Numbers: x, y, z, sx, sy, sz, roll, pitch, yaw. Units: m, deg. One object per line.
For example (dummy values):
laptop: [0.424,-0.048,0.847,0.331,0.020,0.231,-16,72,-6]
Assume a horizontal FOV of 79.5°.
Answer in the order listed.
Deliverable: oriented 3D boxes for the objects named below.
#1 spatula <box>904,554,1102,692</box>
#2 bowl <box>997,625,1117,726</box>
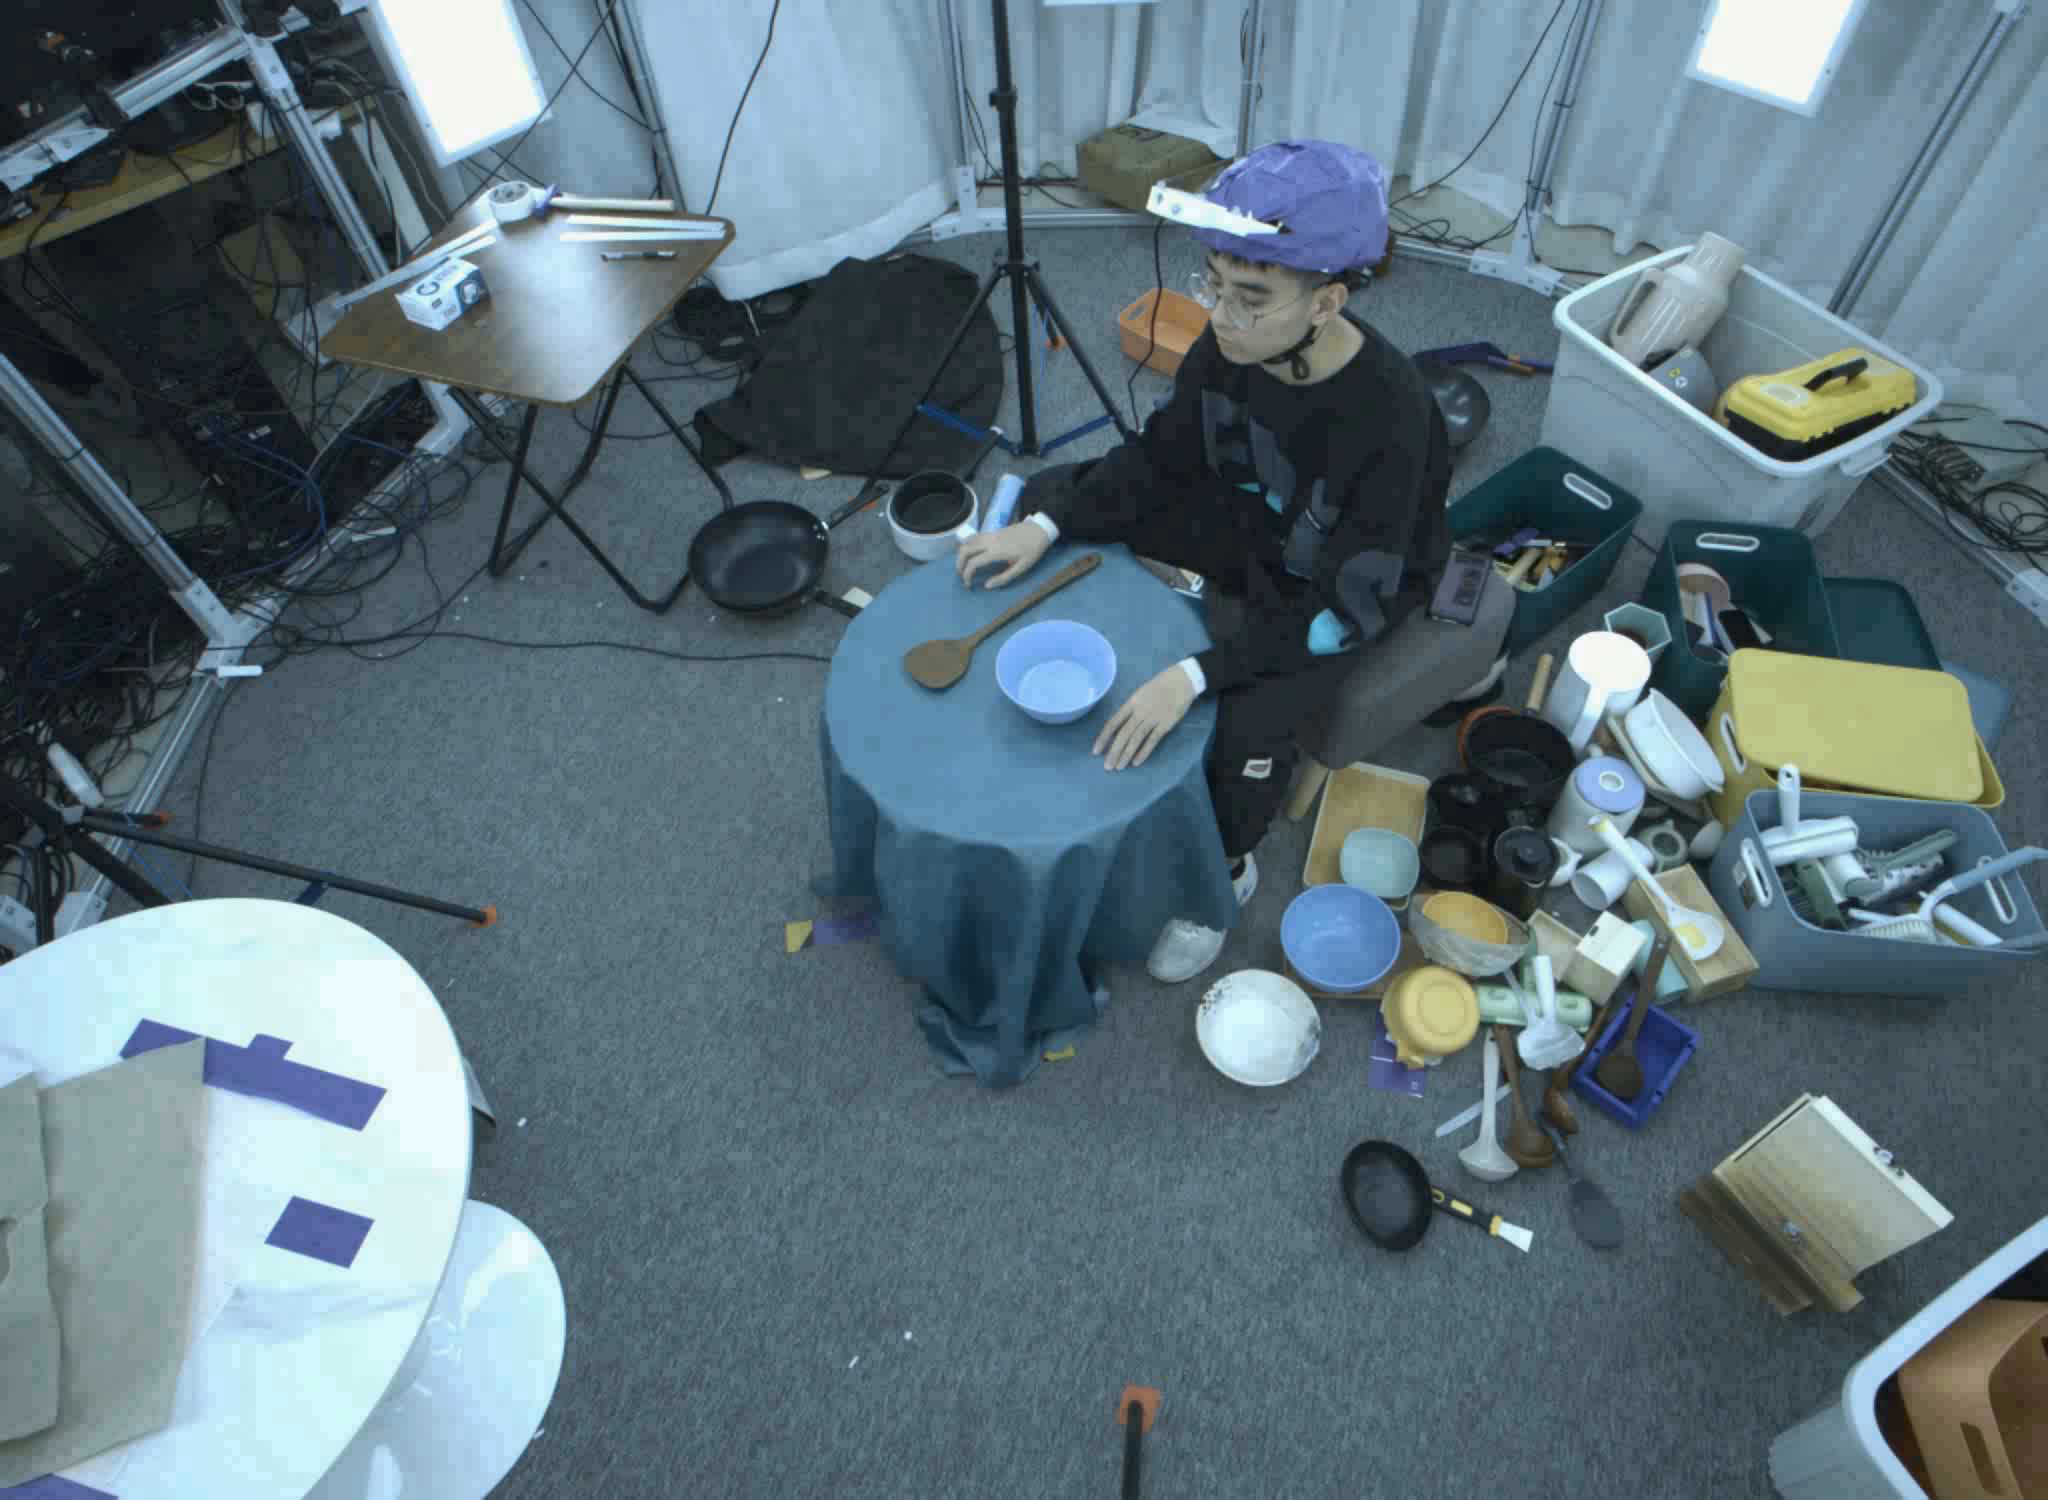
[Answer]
spatula: [-0.021,-0.212,1.939,0.389,0.016,0.094,-37,62,-22]
bowl: [0.049,-0.100,1.824,0.176,0.071,0.174,0,54,1]
